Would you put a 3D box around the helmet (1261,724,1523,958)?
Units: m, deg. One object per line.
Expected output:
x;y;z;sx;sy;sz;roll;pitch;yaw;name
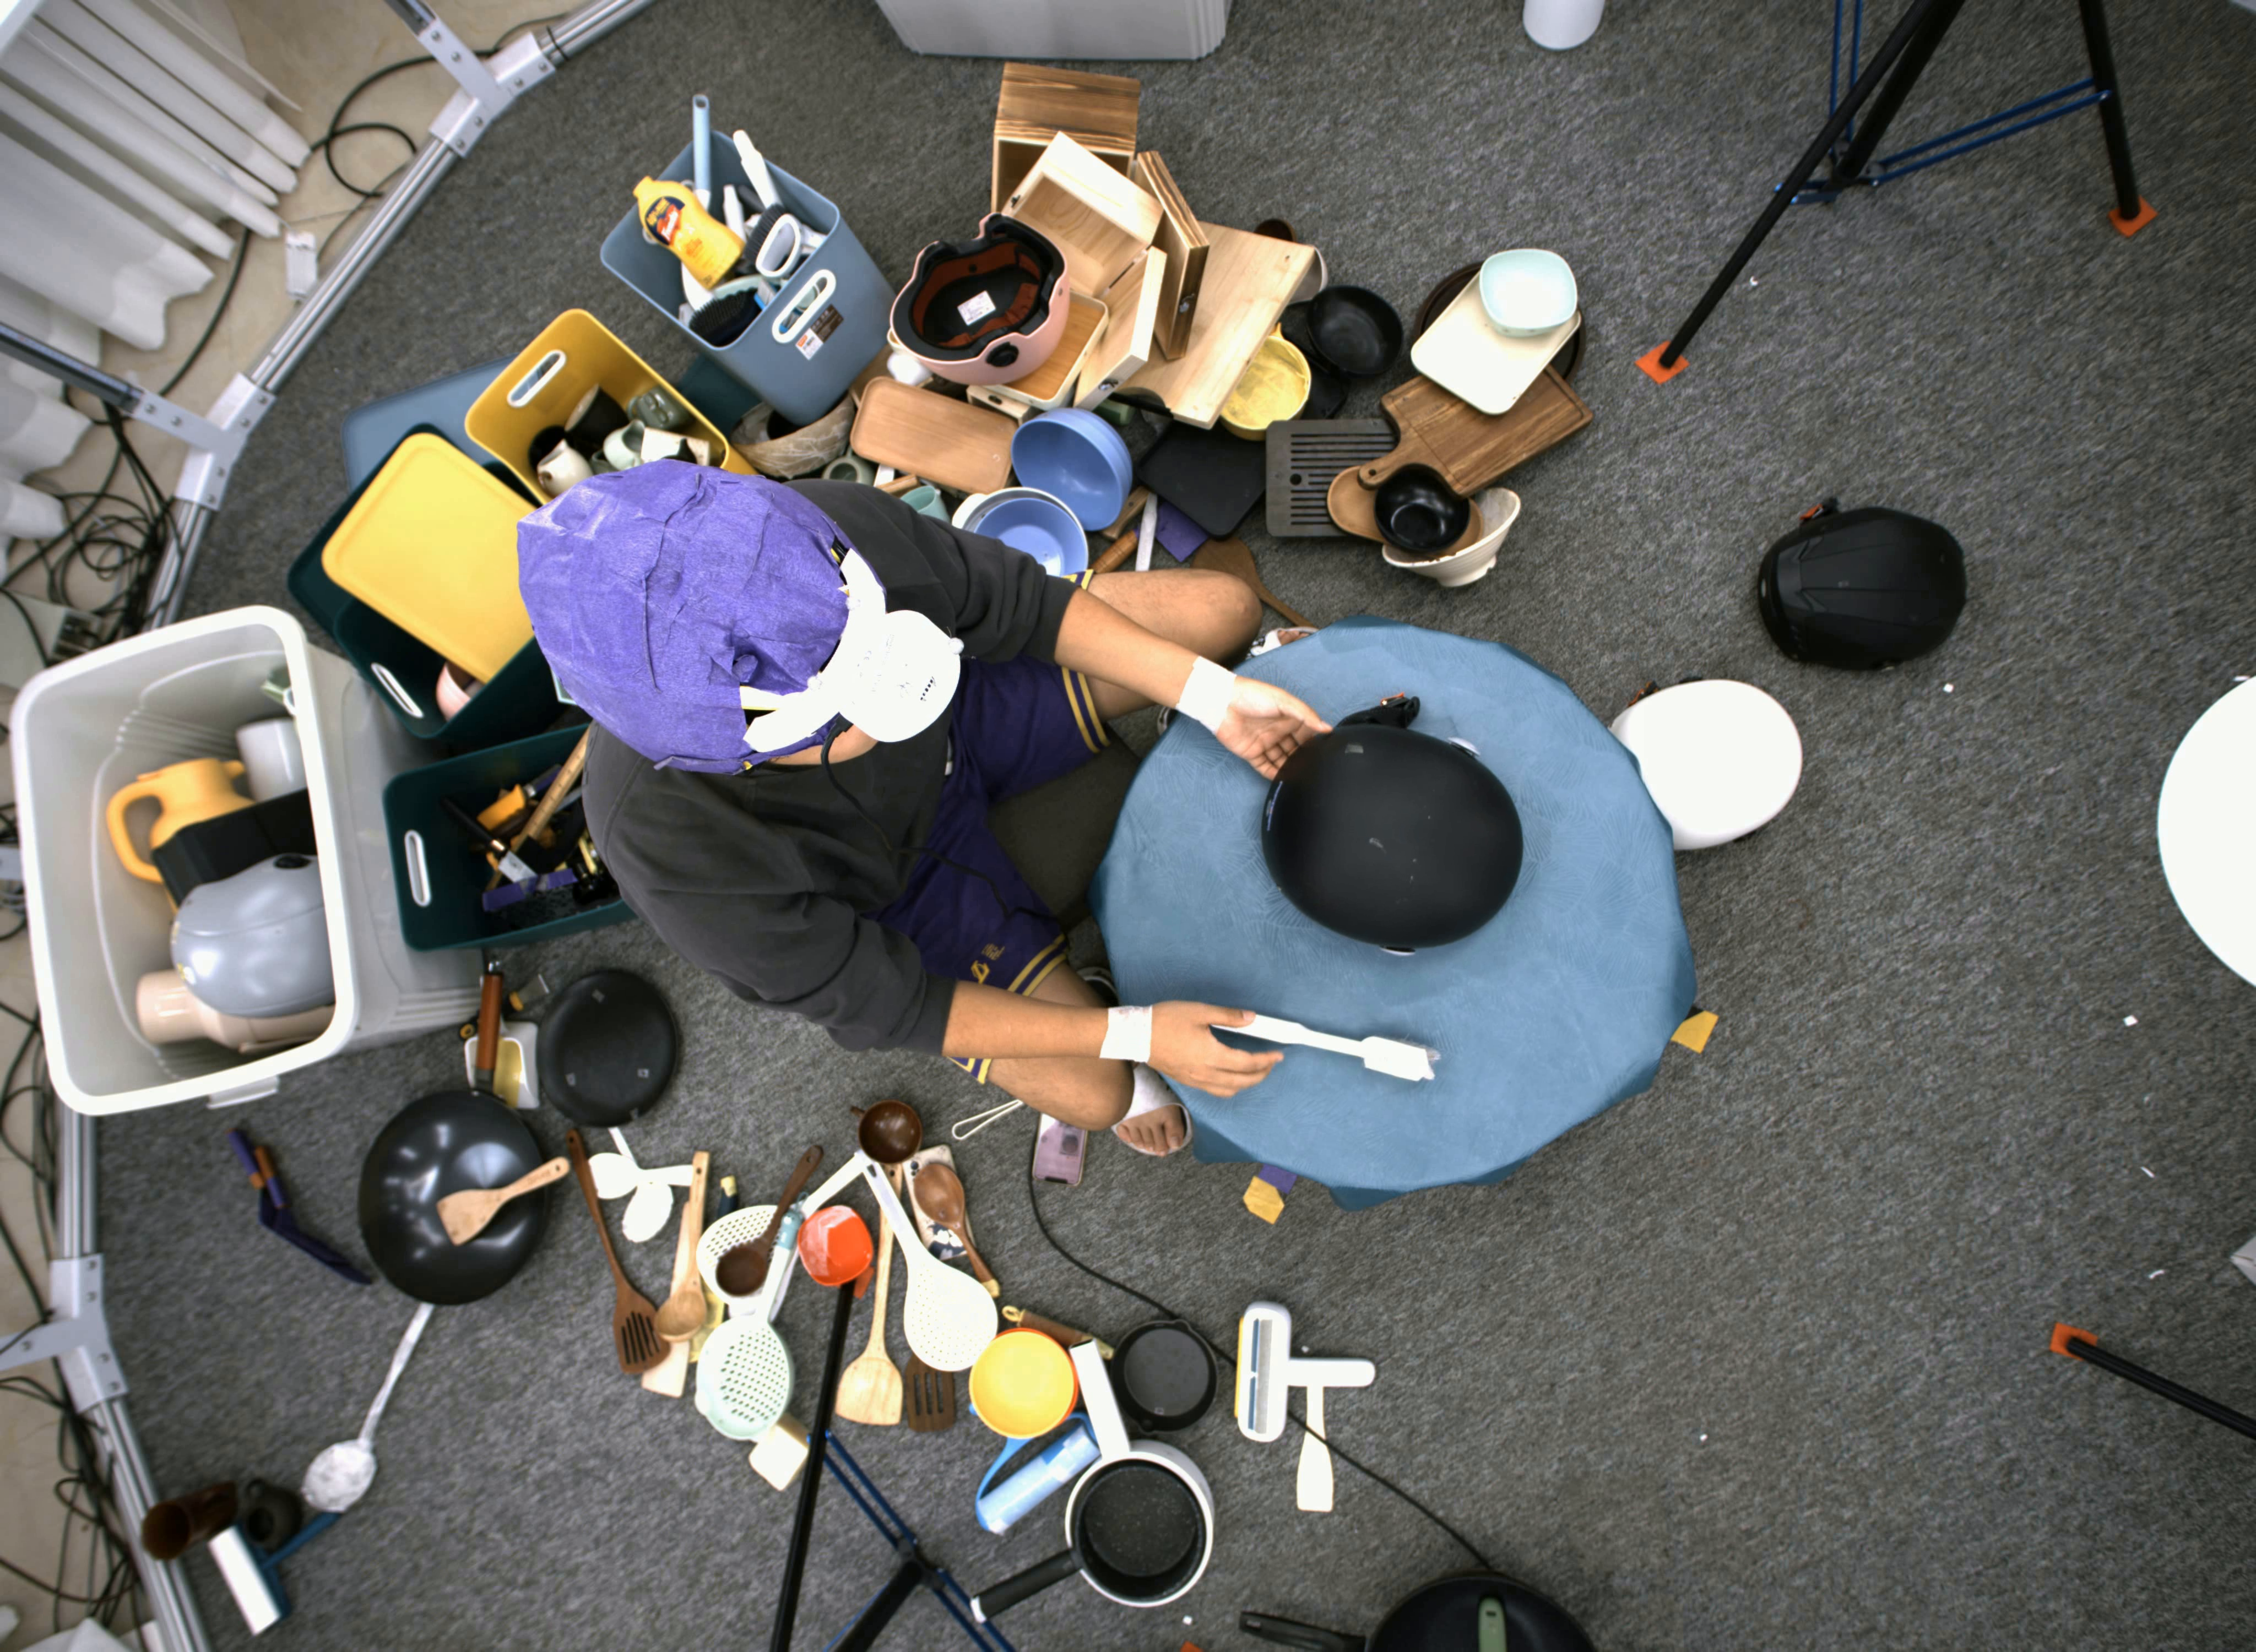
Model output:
0.266;0.014;1.375;0.273;0.165;0.232;20;98;7;helmet

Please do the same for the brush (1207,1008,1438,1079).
0.202;0.223;1.452;0.244;0.050;0.034;9;90;24;brush
